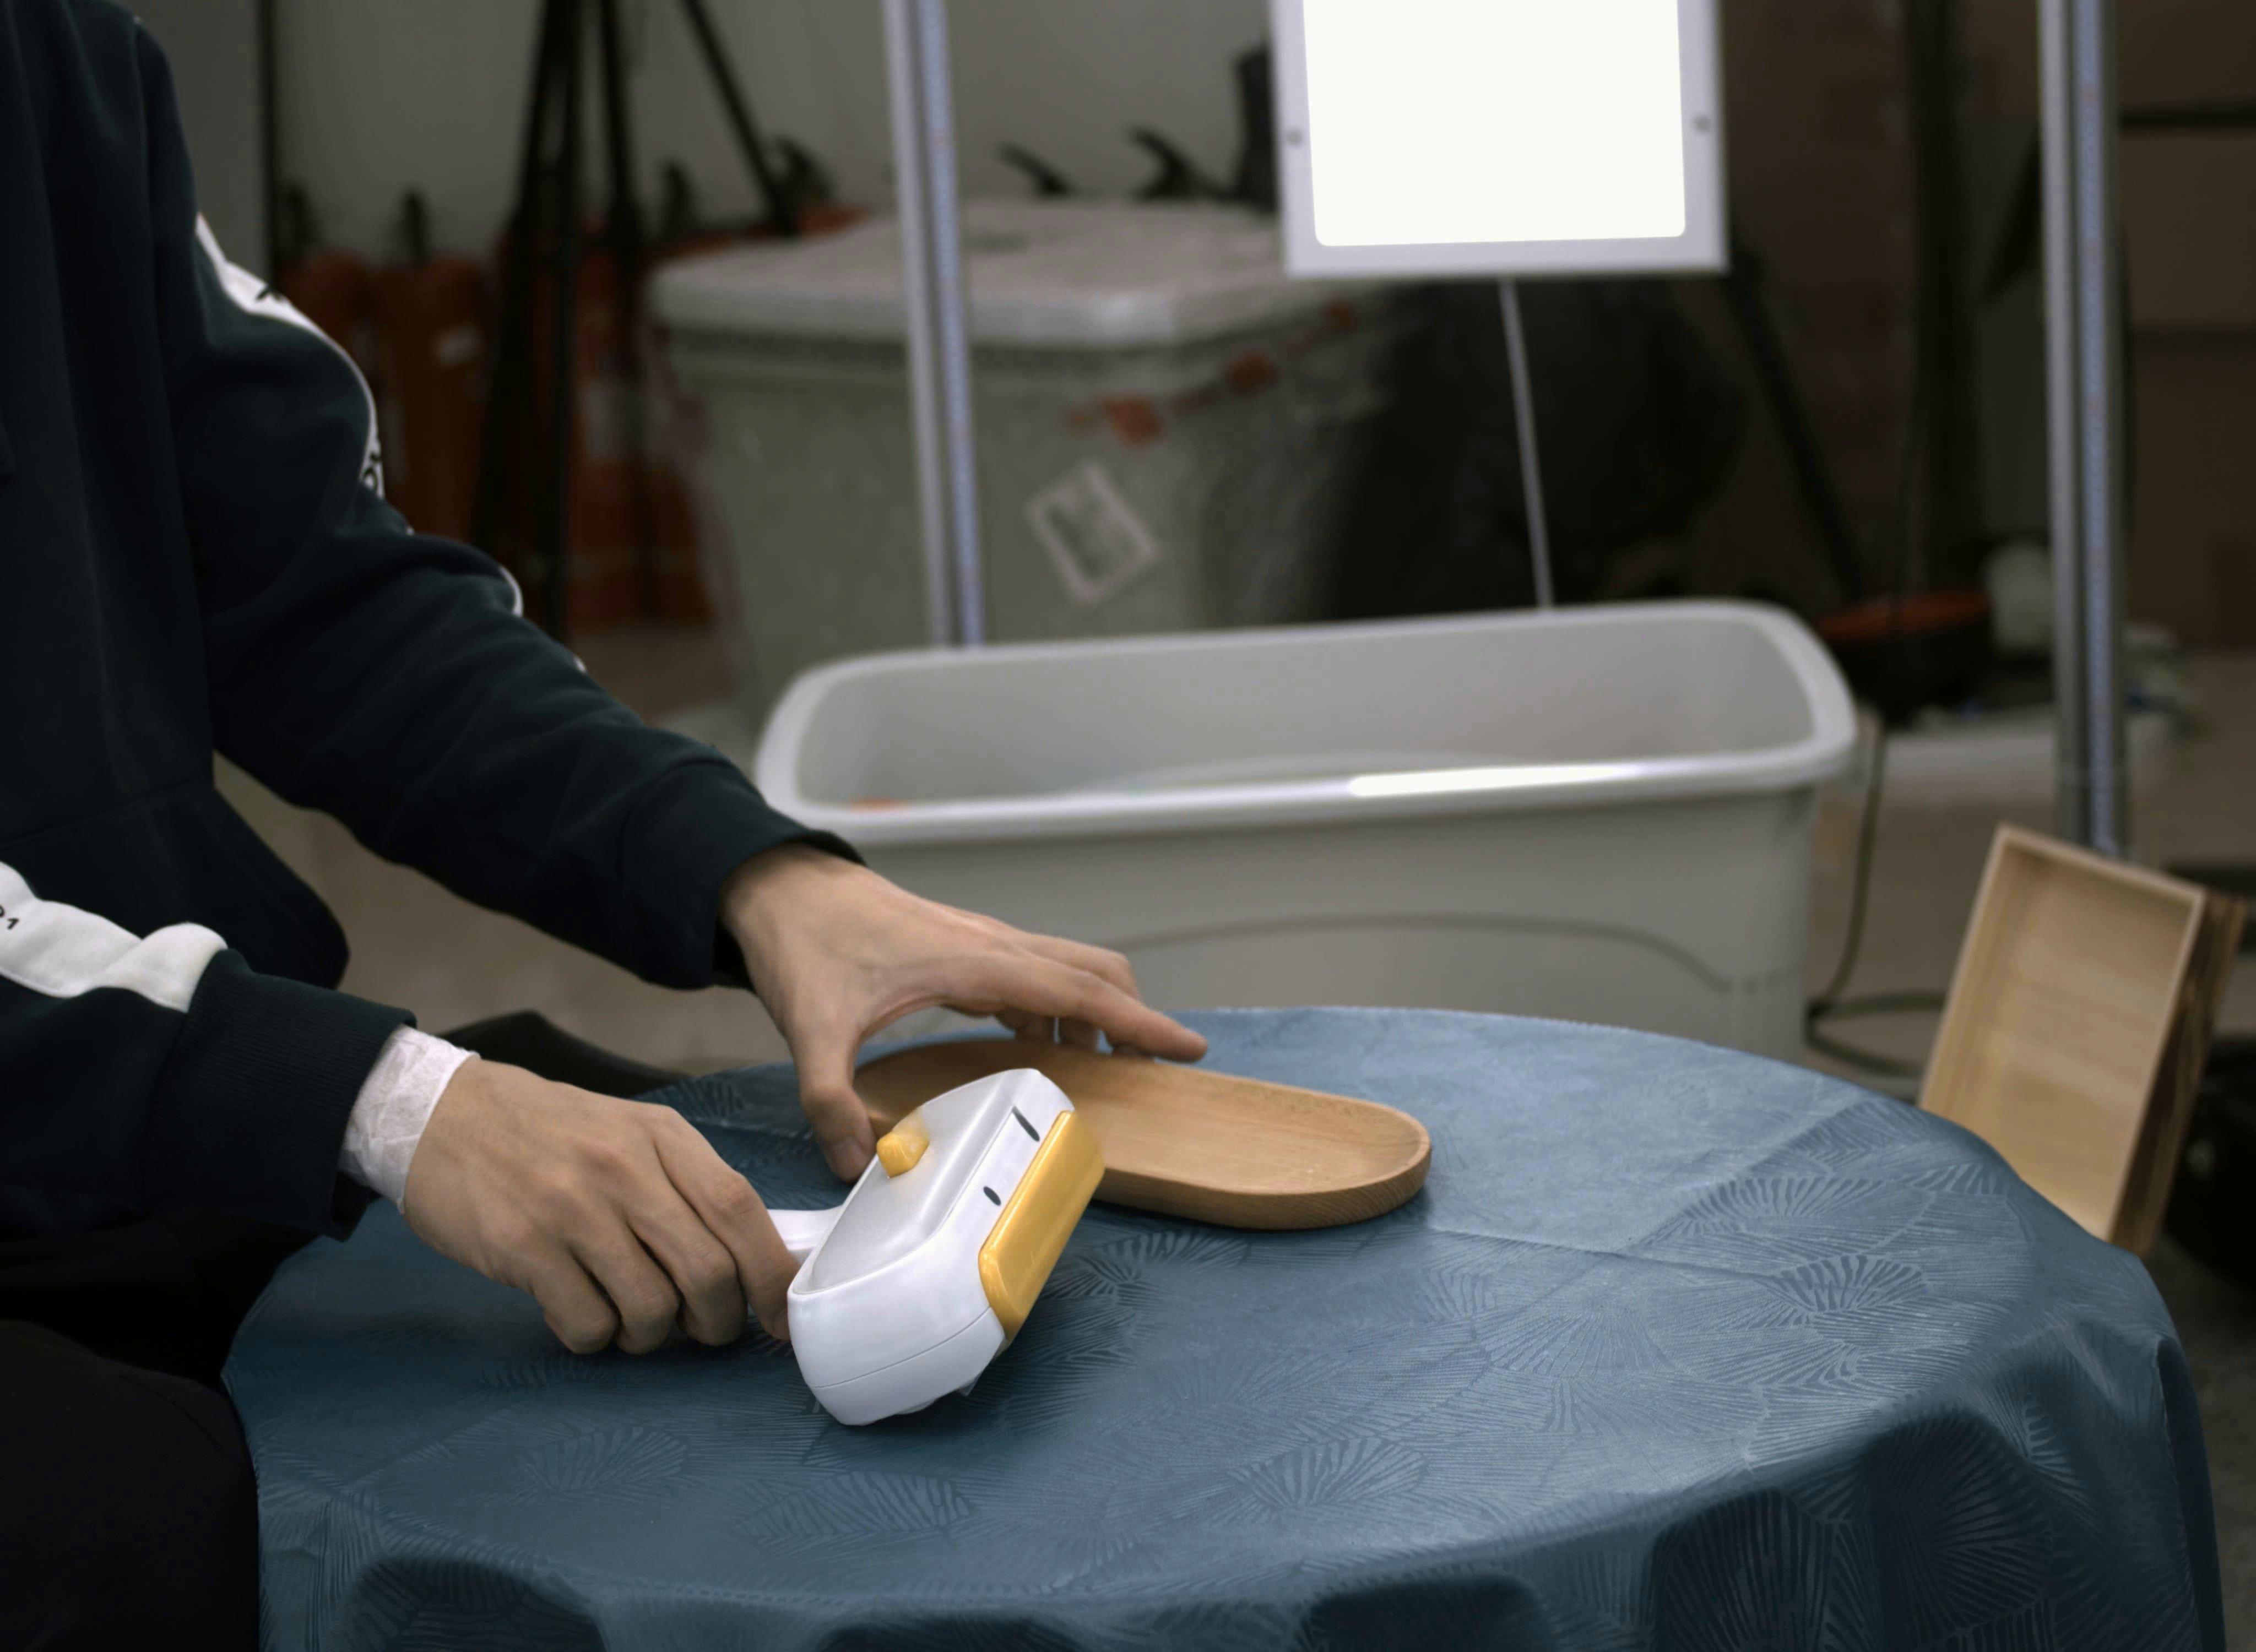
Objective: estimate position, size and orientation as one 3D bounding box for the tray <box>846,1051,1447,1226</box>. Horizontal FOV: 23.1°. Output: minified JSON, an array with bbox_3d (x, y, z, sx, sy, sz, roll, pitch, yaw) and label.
[{"bbox_3d":[0.005,0.108,1.917,0.236,0.020,0.099,9,20,34],"label":"tray"}]

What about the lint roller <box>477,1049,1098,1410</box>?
[{"bbox_3d":[-0.113,0.135,1.775,0.194,0.074,0.191,-14,19,14],"label":"lint roller"}]
